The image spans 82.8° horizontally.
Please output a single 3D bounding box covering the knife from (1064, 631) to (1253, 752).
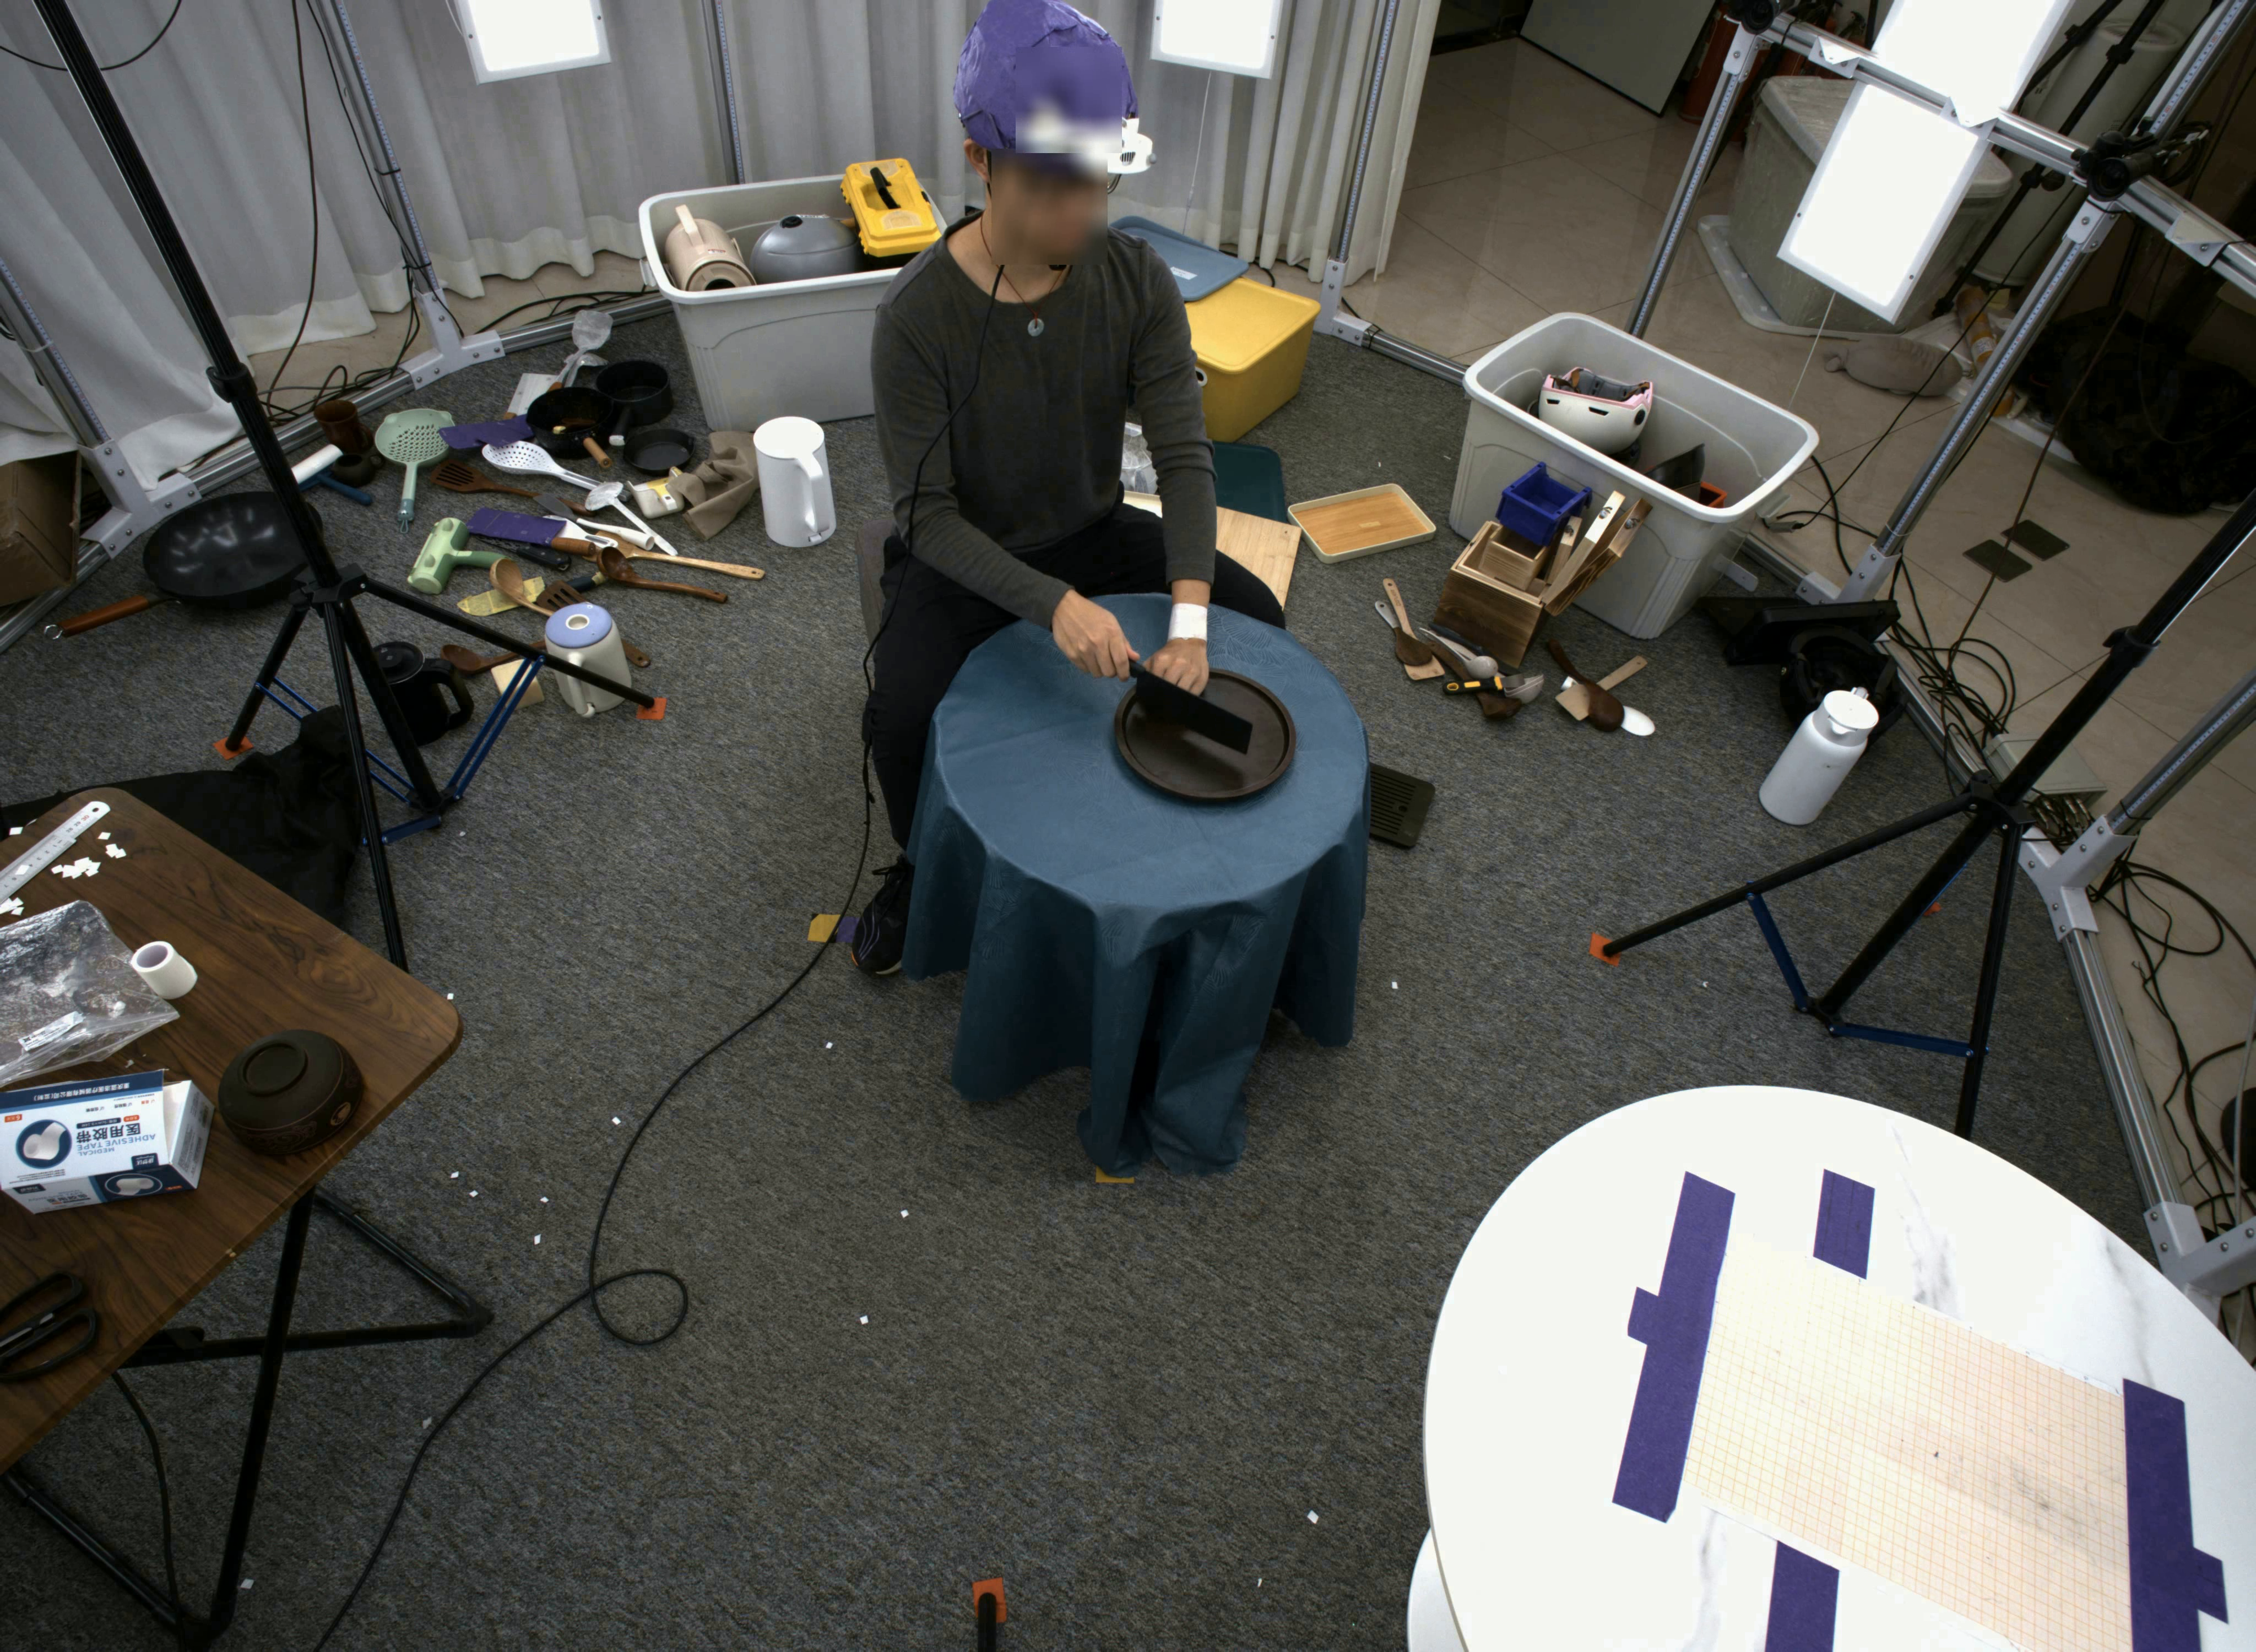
[{"bbox_3d":[0.039,-0.187,1.745,0.305,0.079,0.021,31,52,17],"label":"knife"}]

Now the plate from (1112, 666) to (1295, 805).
[{"bbox_3d":[0.104,-0.127,1.770,0.254,0.028,0.261,1,50,-2],"label":"plate"}]
